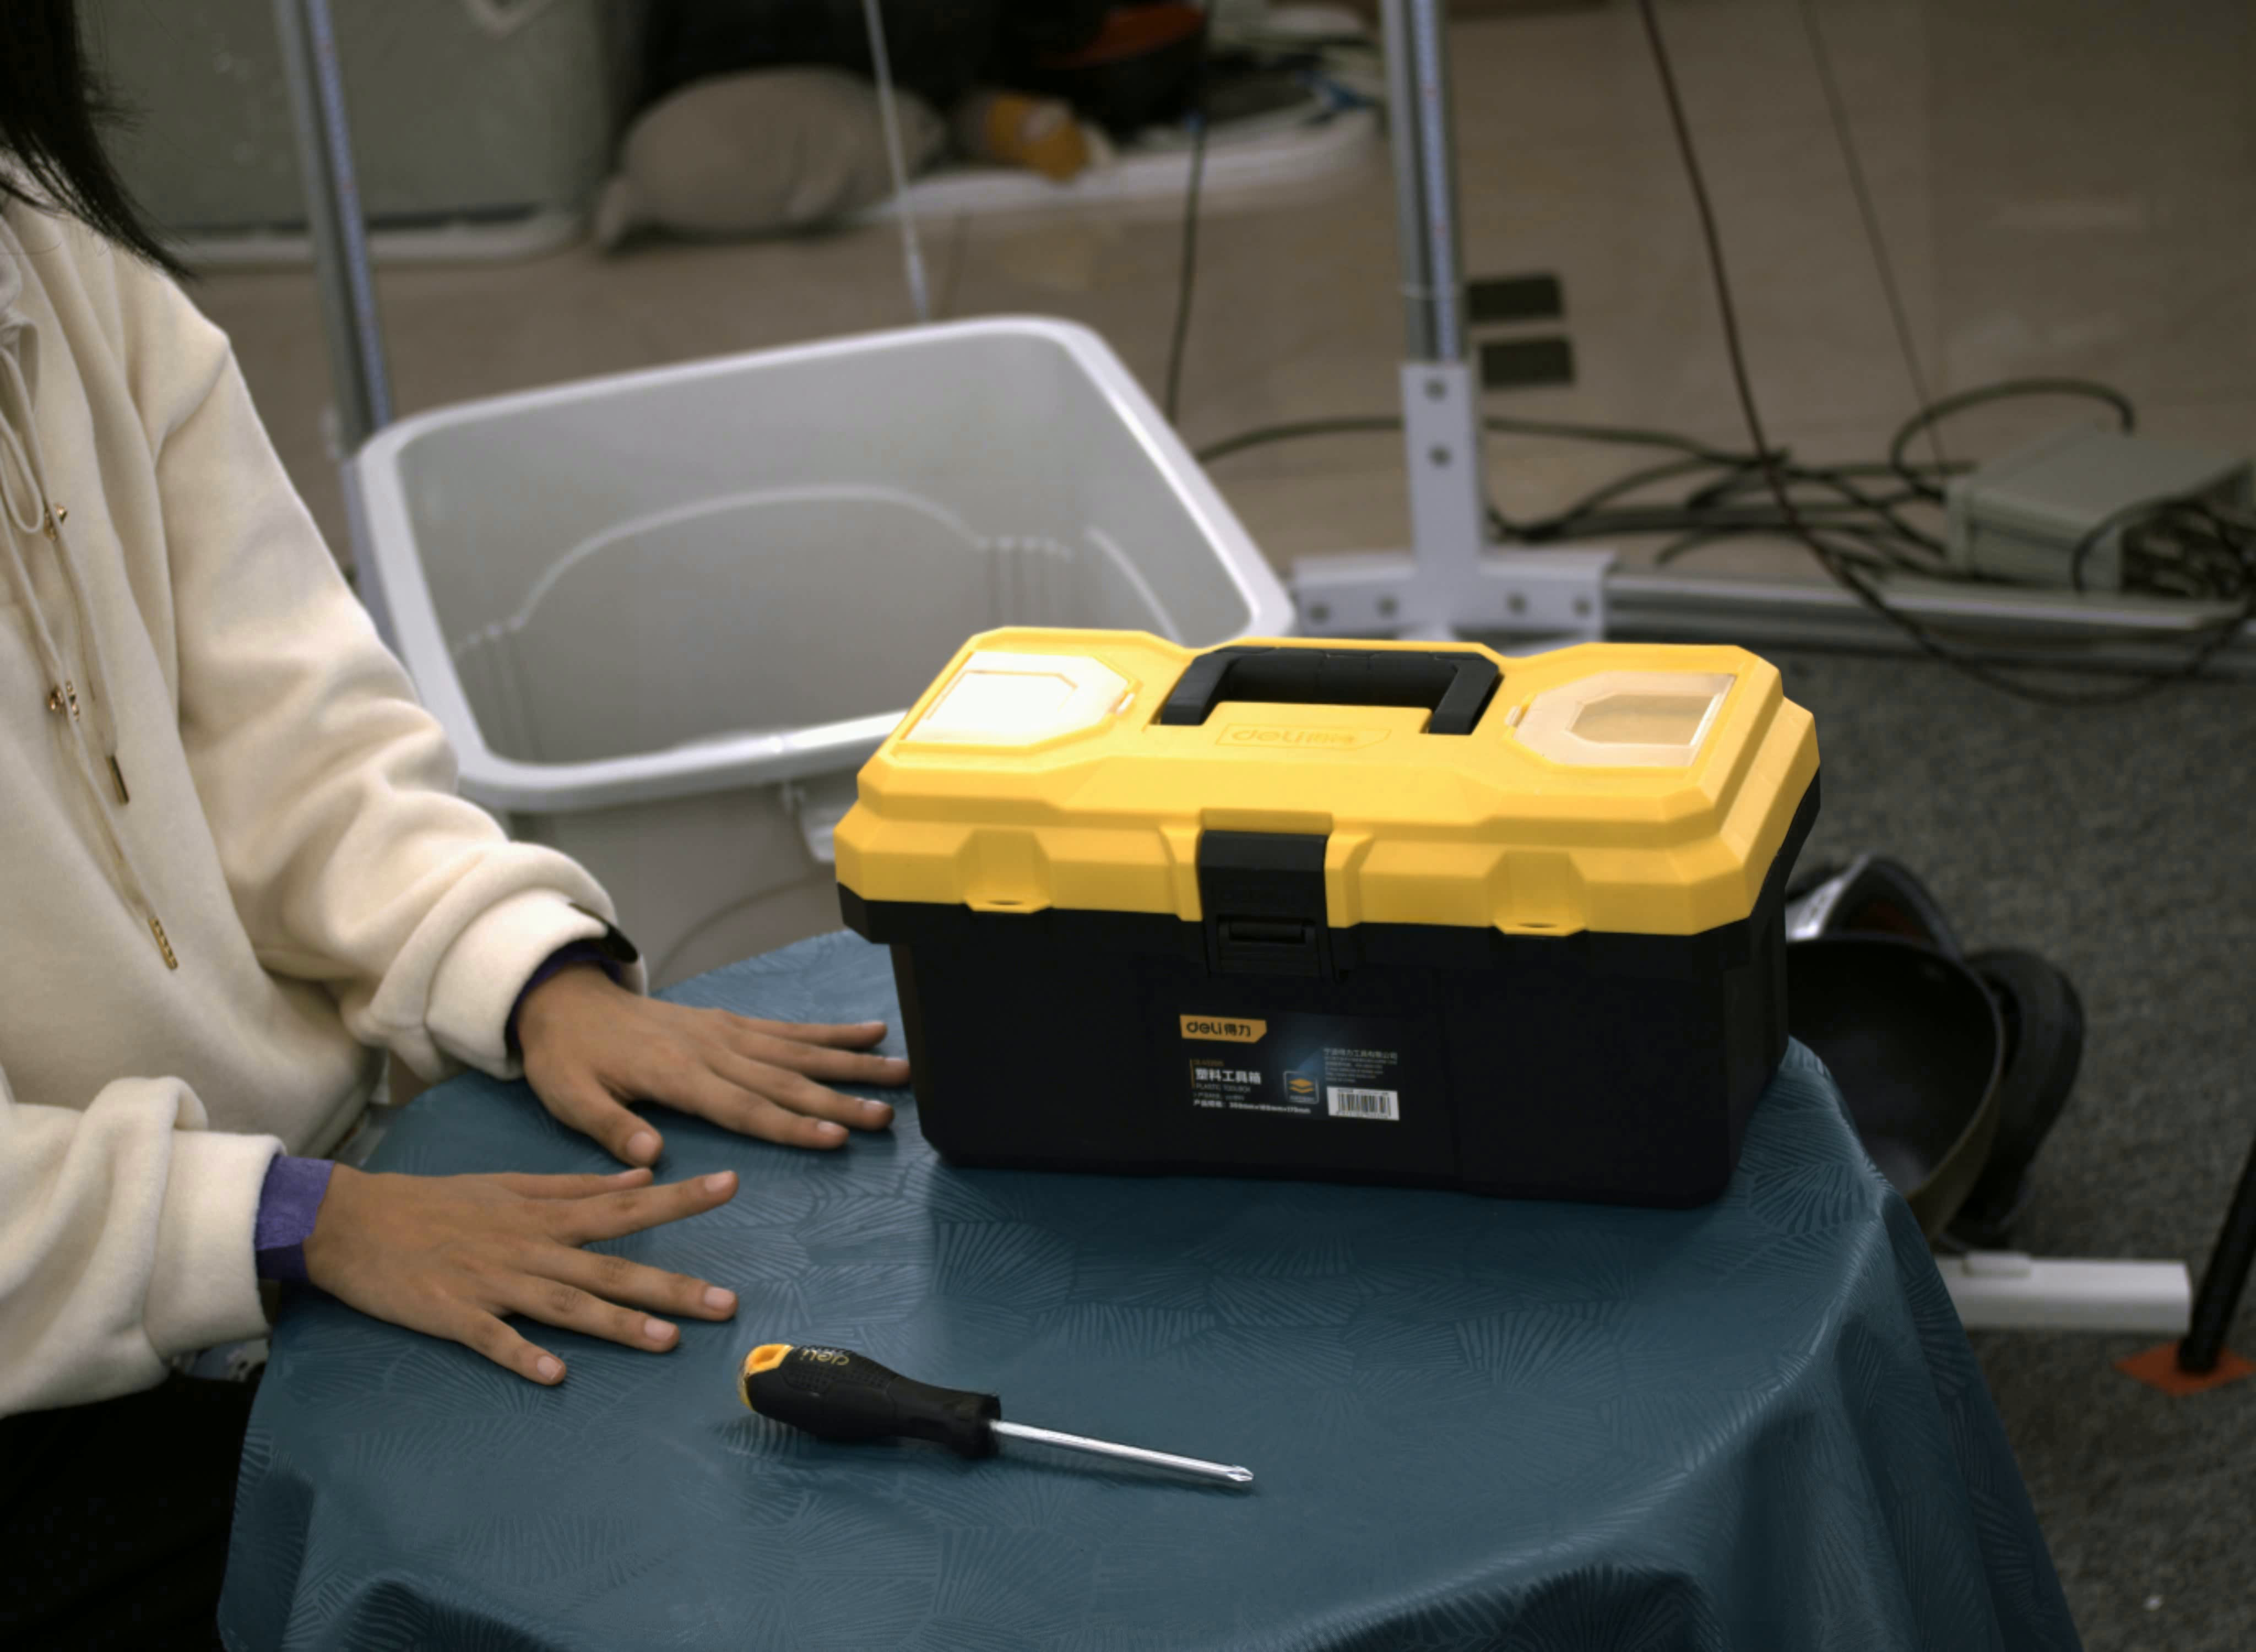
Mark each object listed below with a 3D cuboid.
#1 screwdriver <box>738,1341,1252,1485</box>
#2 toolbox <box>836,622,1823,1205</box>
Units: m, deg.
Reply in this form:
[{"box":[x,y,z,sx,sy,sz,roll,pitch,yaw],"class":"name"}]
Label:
[{"box":[-0.048,0.206,1.978,0.195,0.032,0.031,7,28,25],"class":"screwdriver"},{"box":[0.079,0.032,2.149,0.350,0.175,0.179,3,27,19],"class":"toolbox"}]
